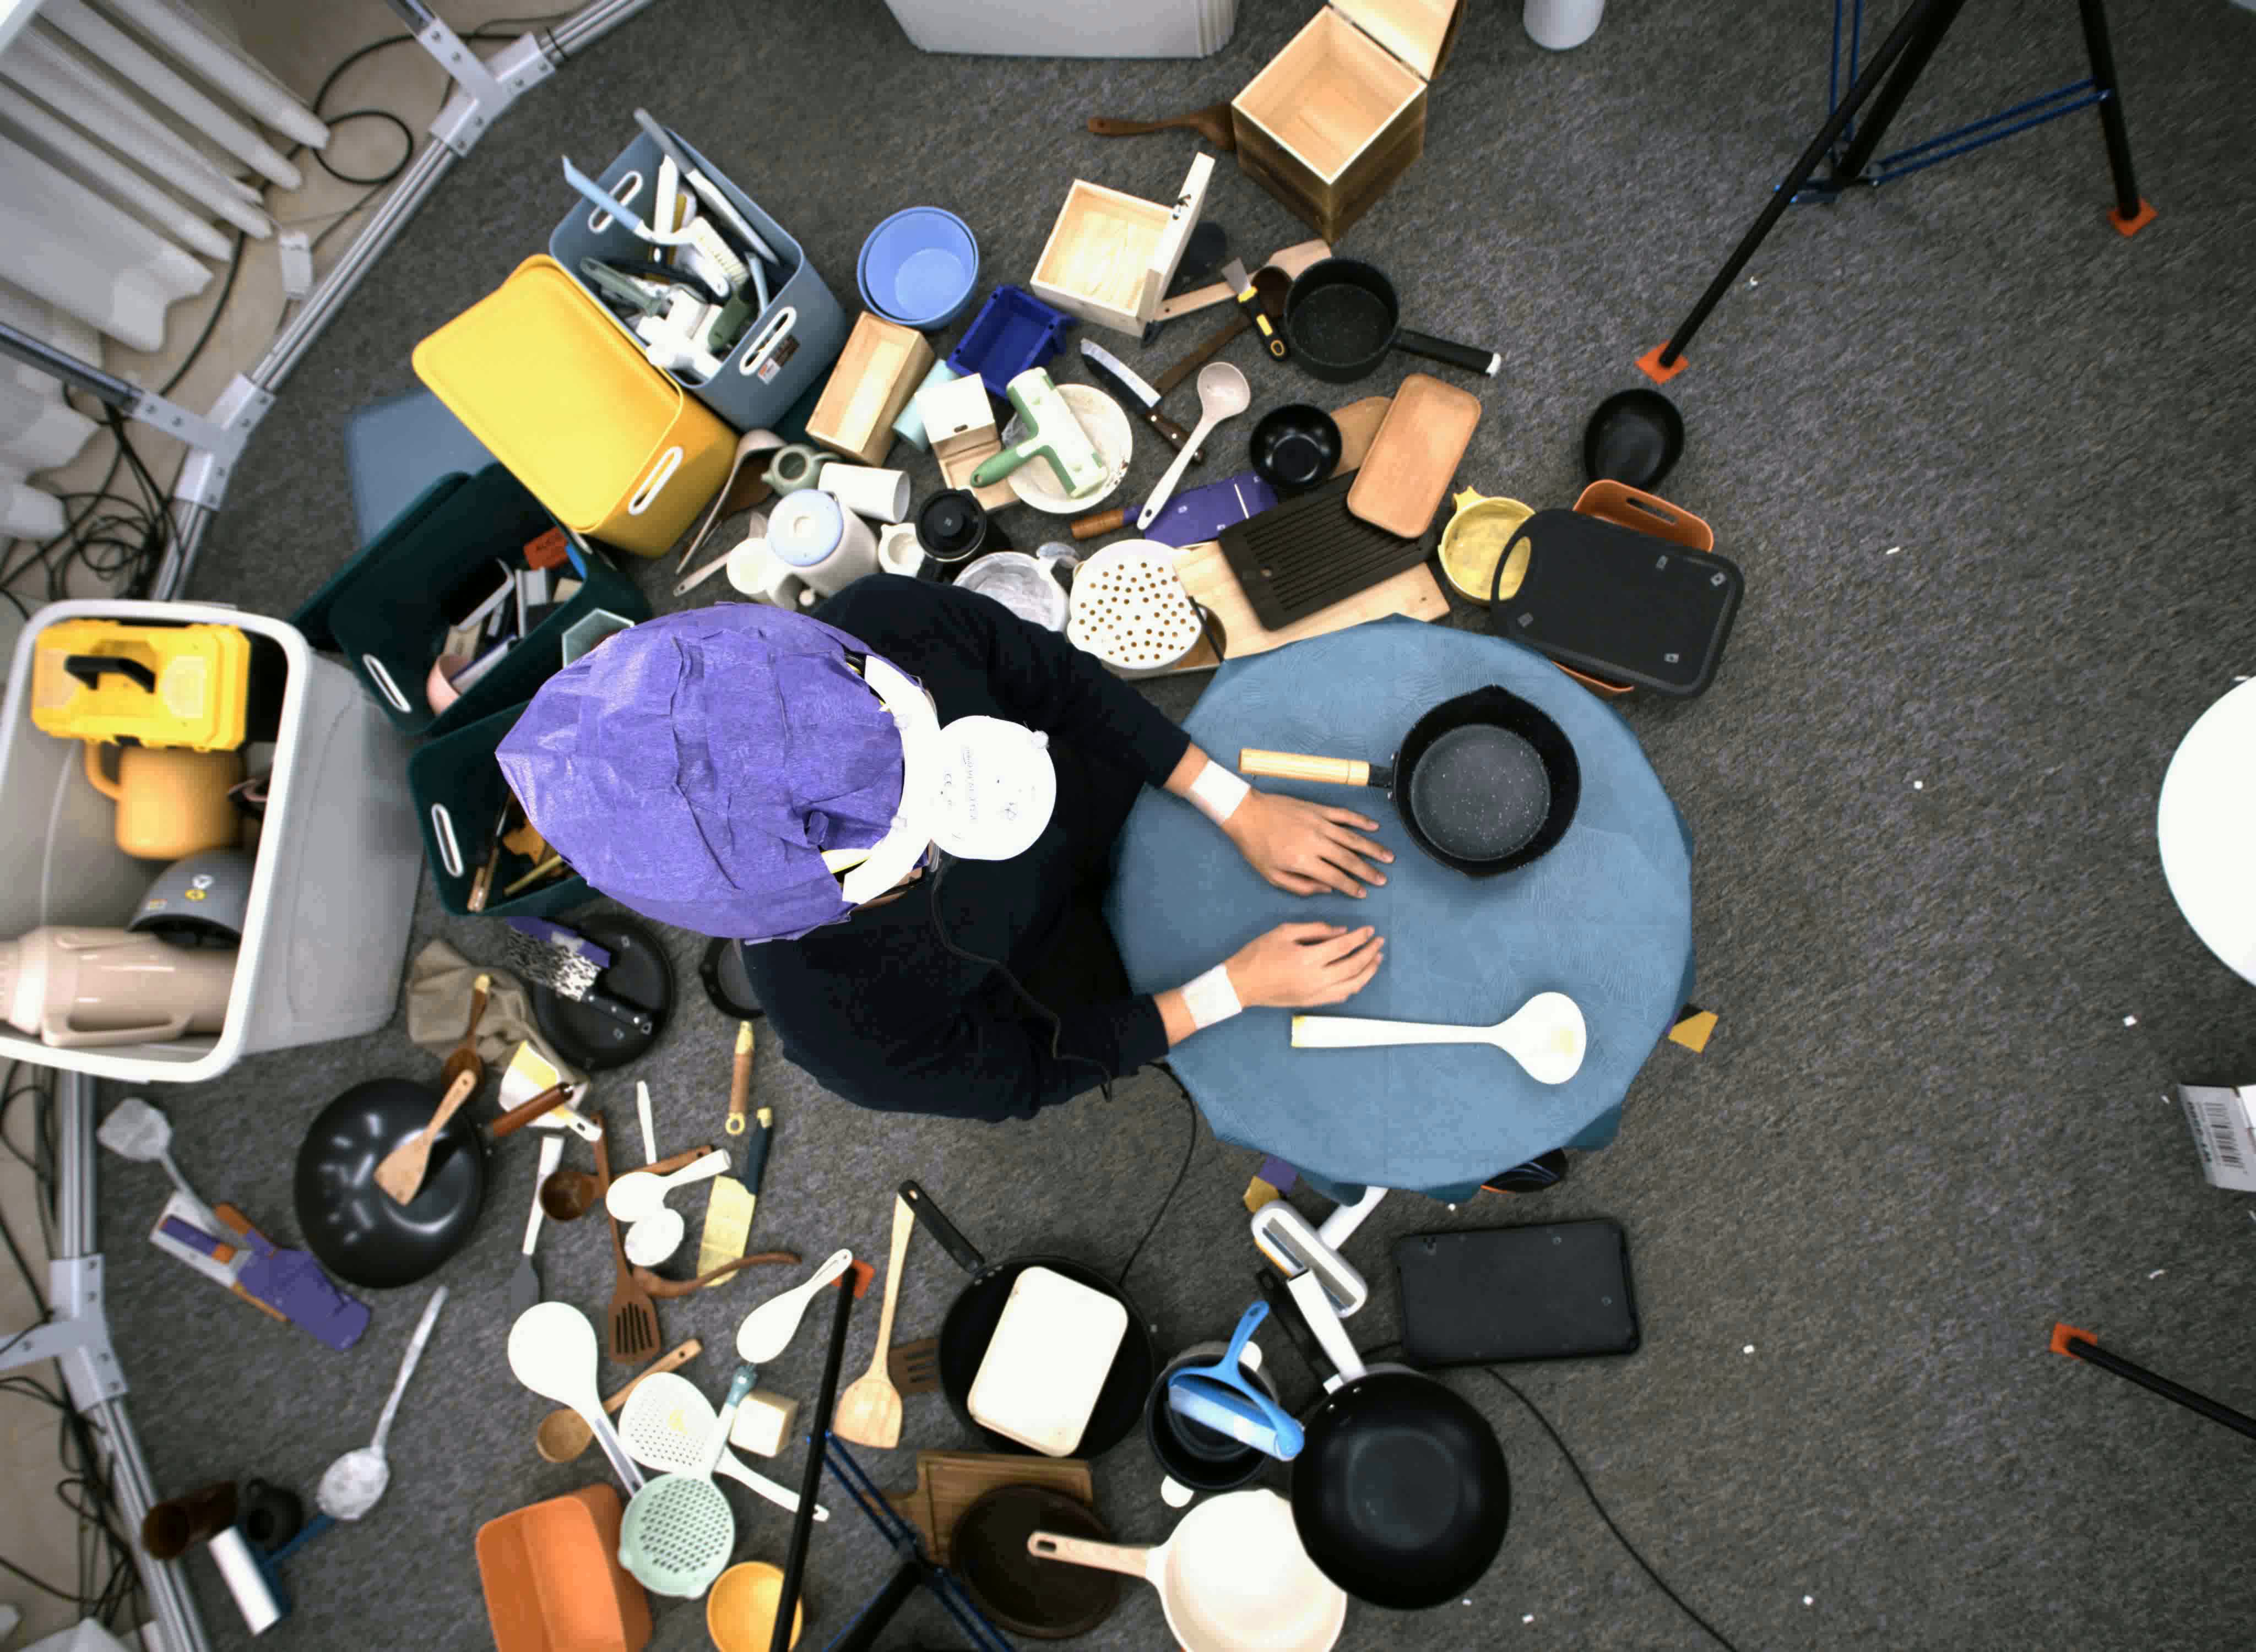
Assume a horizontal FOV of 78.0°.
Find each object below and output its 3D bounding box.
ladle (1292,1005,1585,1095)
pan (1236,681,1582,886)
[{"bbox_3d":[0.312,0.219,1.411,0.294,0.069,0.090,1,93,11],"label":"ladle"},{"bbox_3d":[0.283,-0.047,1.409,0.344,0.108,0.207,4,88,9],"label":"pan"}]
